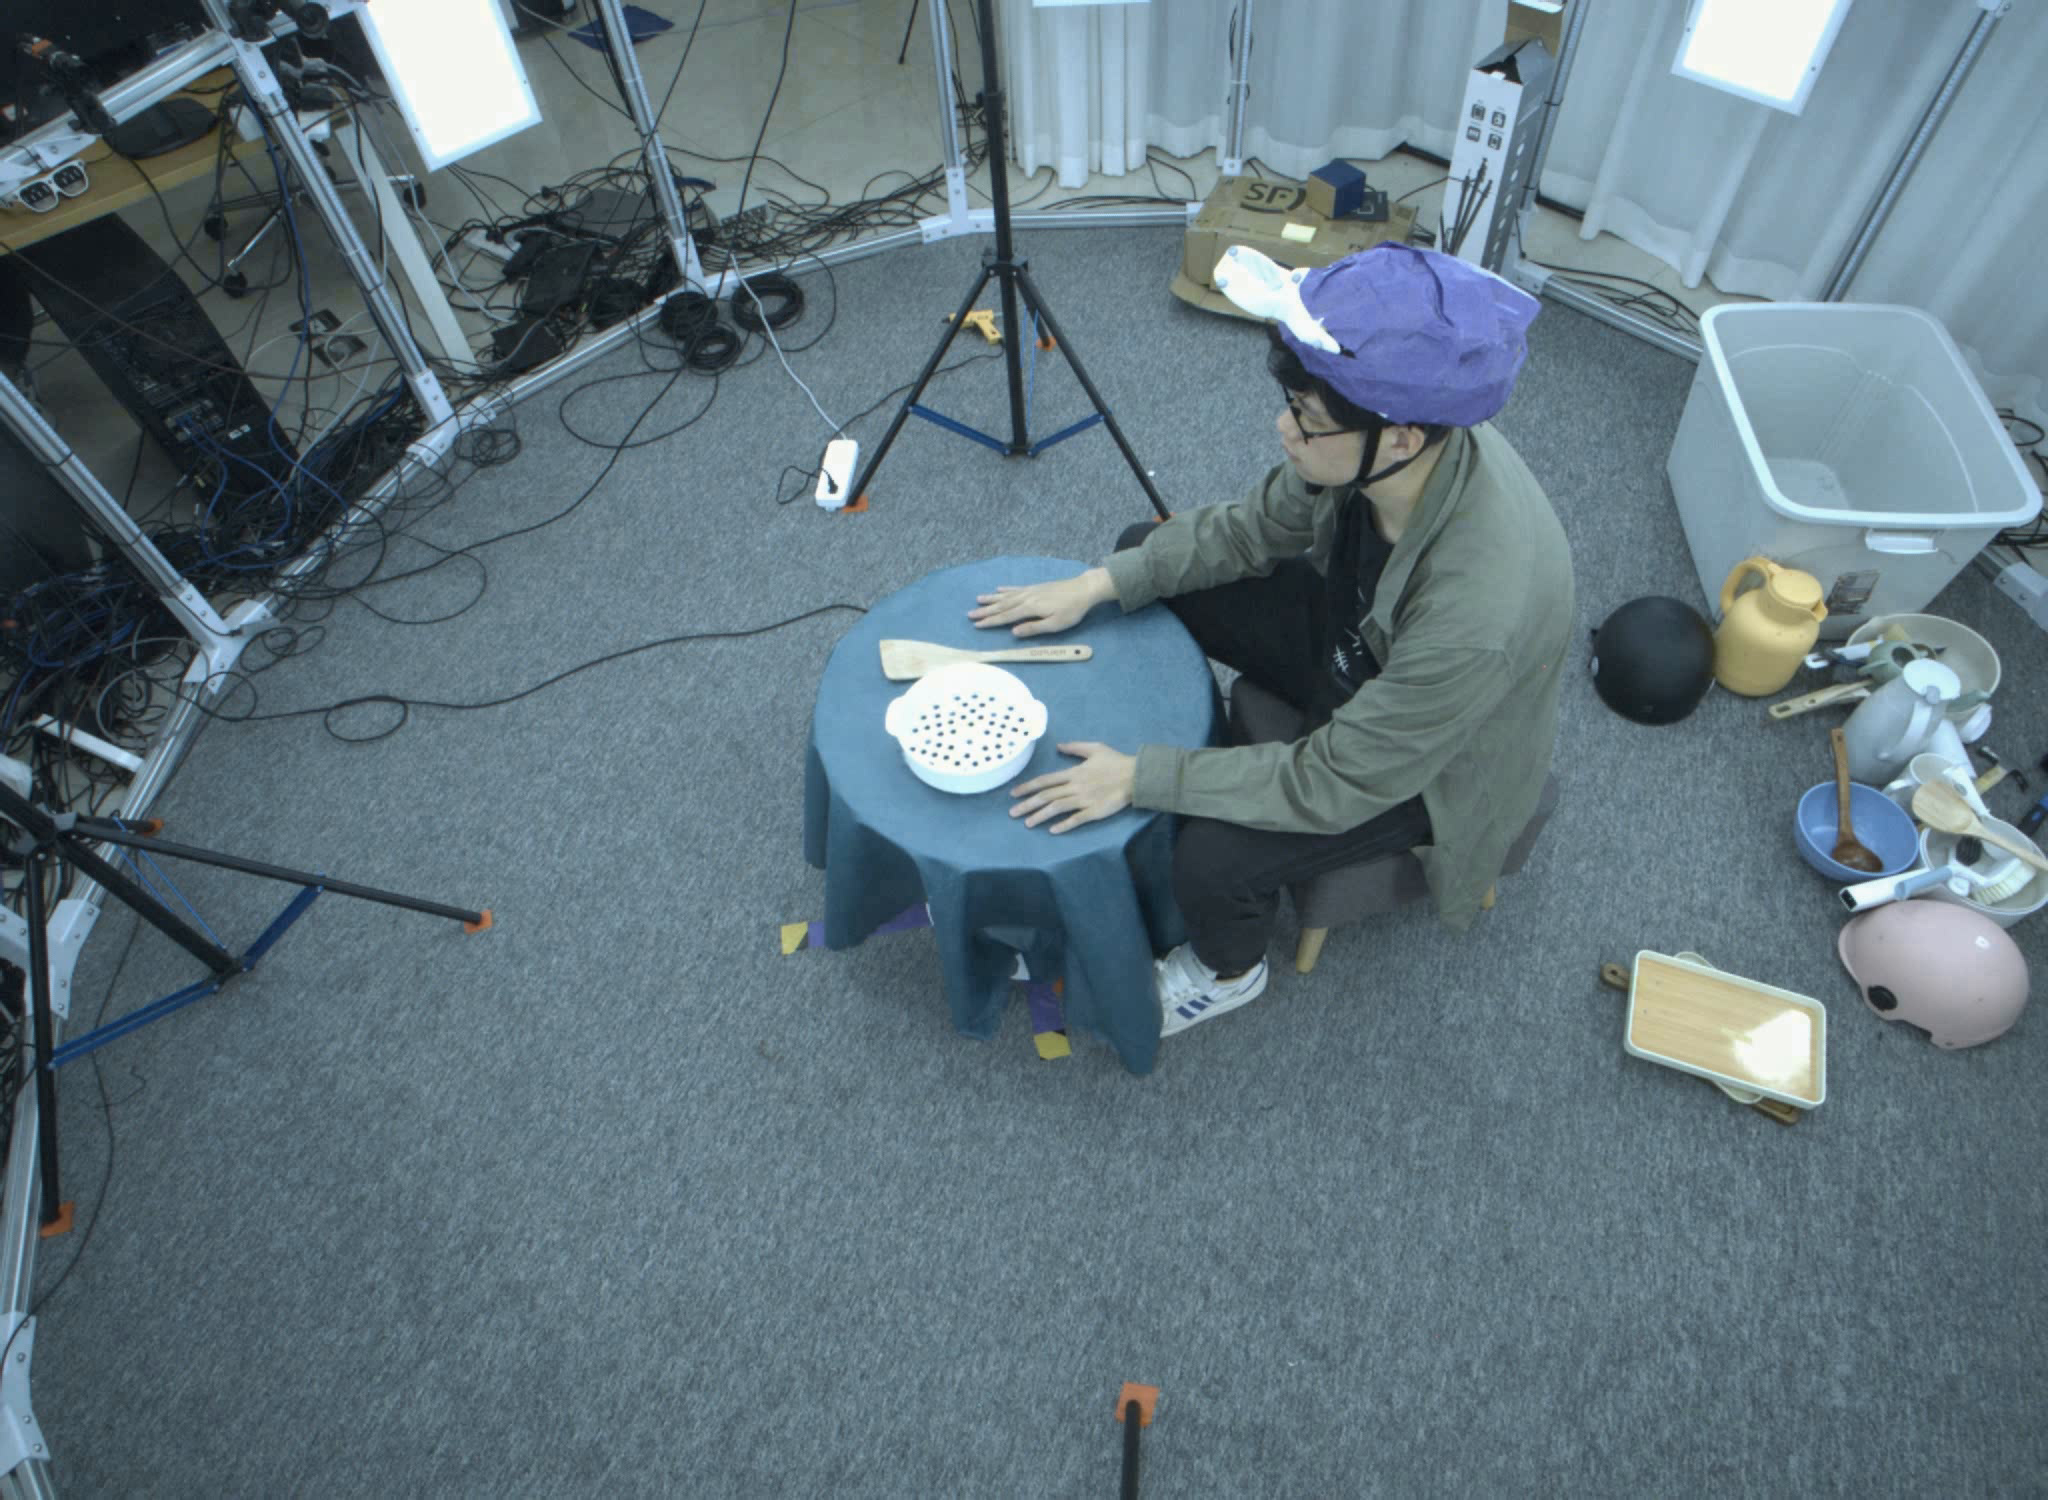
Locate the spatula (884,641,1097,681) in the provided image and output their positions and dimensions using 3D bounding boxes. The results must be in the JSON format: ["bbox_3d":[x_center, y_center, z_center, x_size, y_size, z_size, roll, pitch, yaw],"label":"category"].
[{"bbox_3d":[-0.052,-0.144,1.886,0.328,0.017,0.079,-3,55,0],"label":"spatula"}]

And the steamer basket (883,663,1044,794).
[{"bbox_3d":[-0.086,-0.029,1.776,0.230,0.070,0.200,3,55,2],"label":"steamer basket"}]
